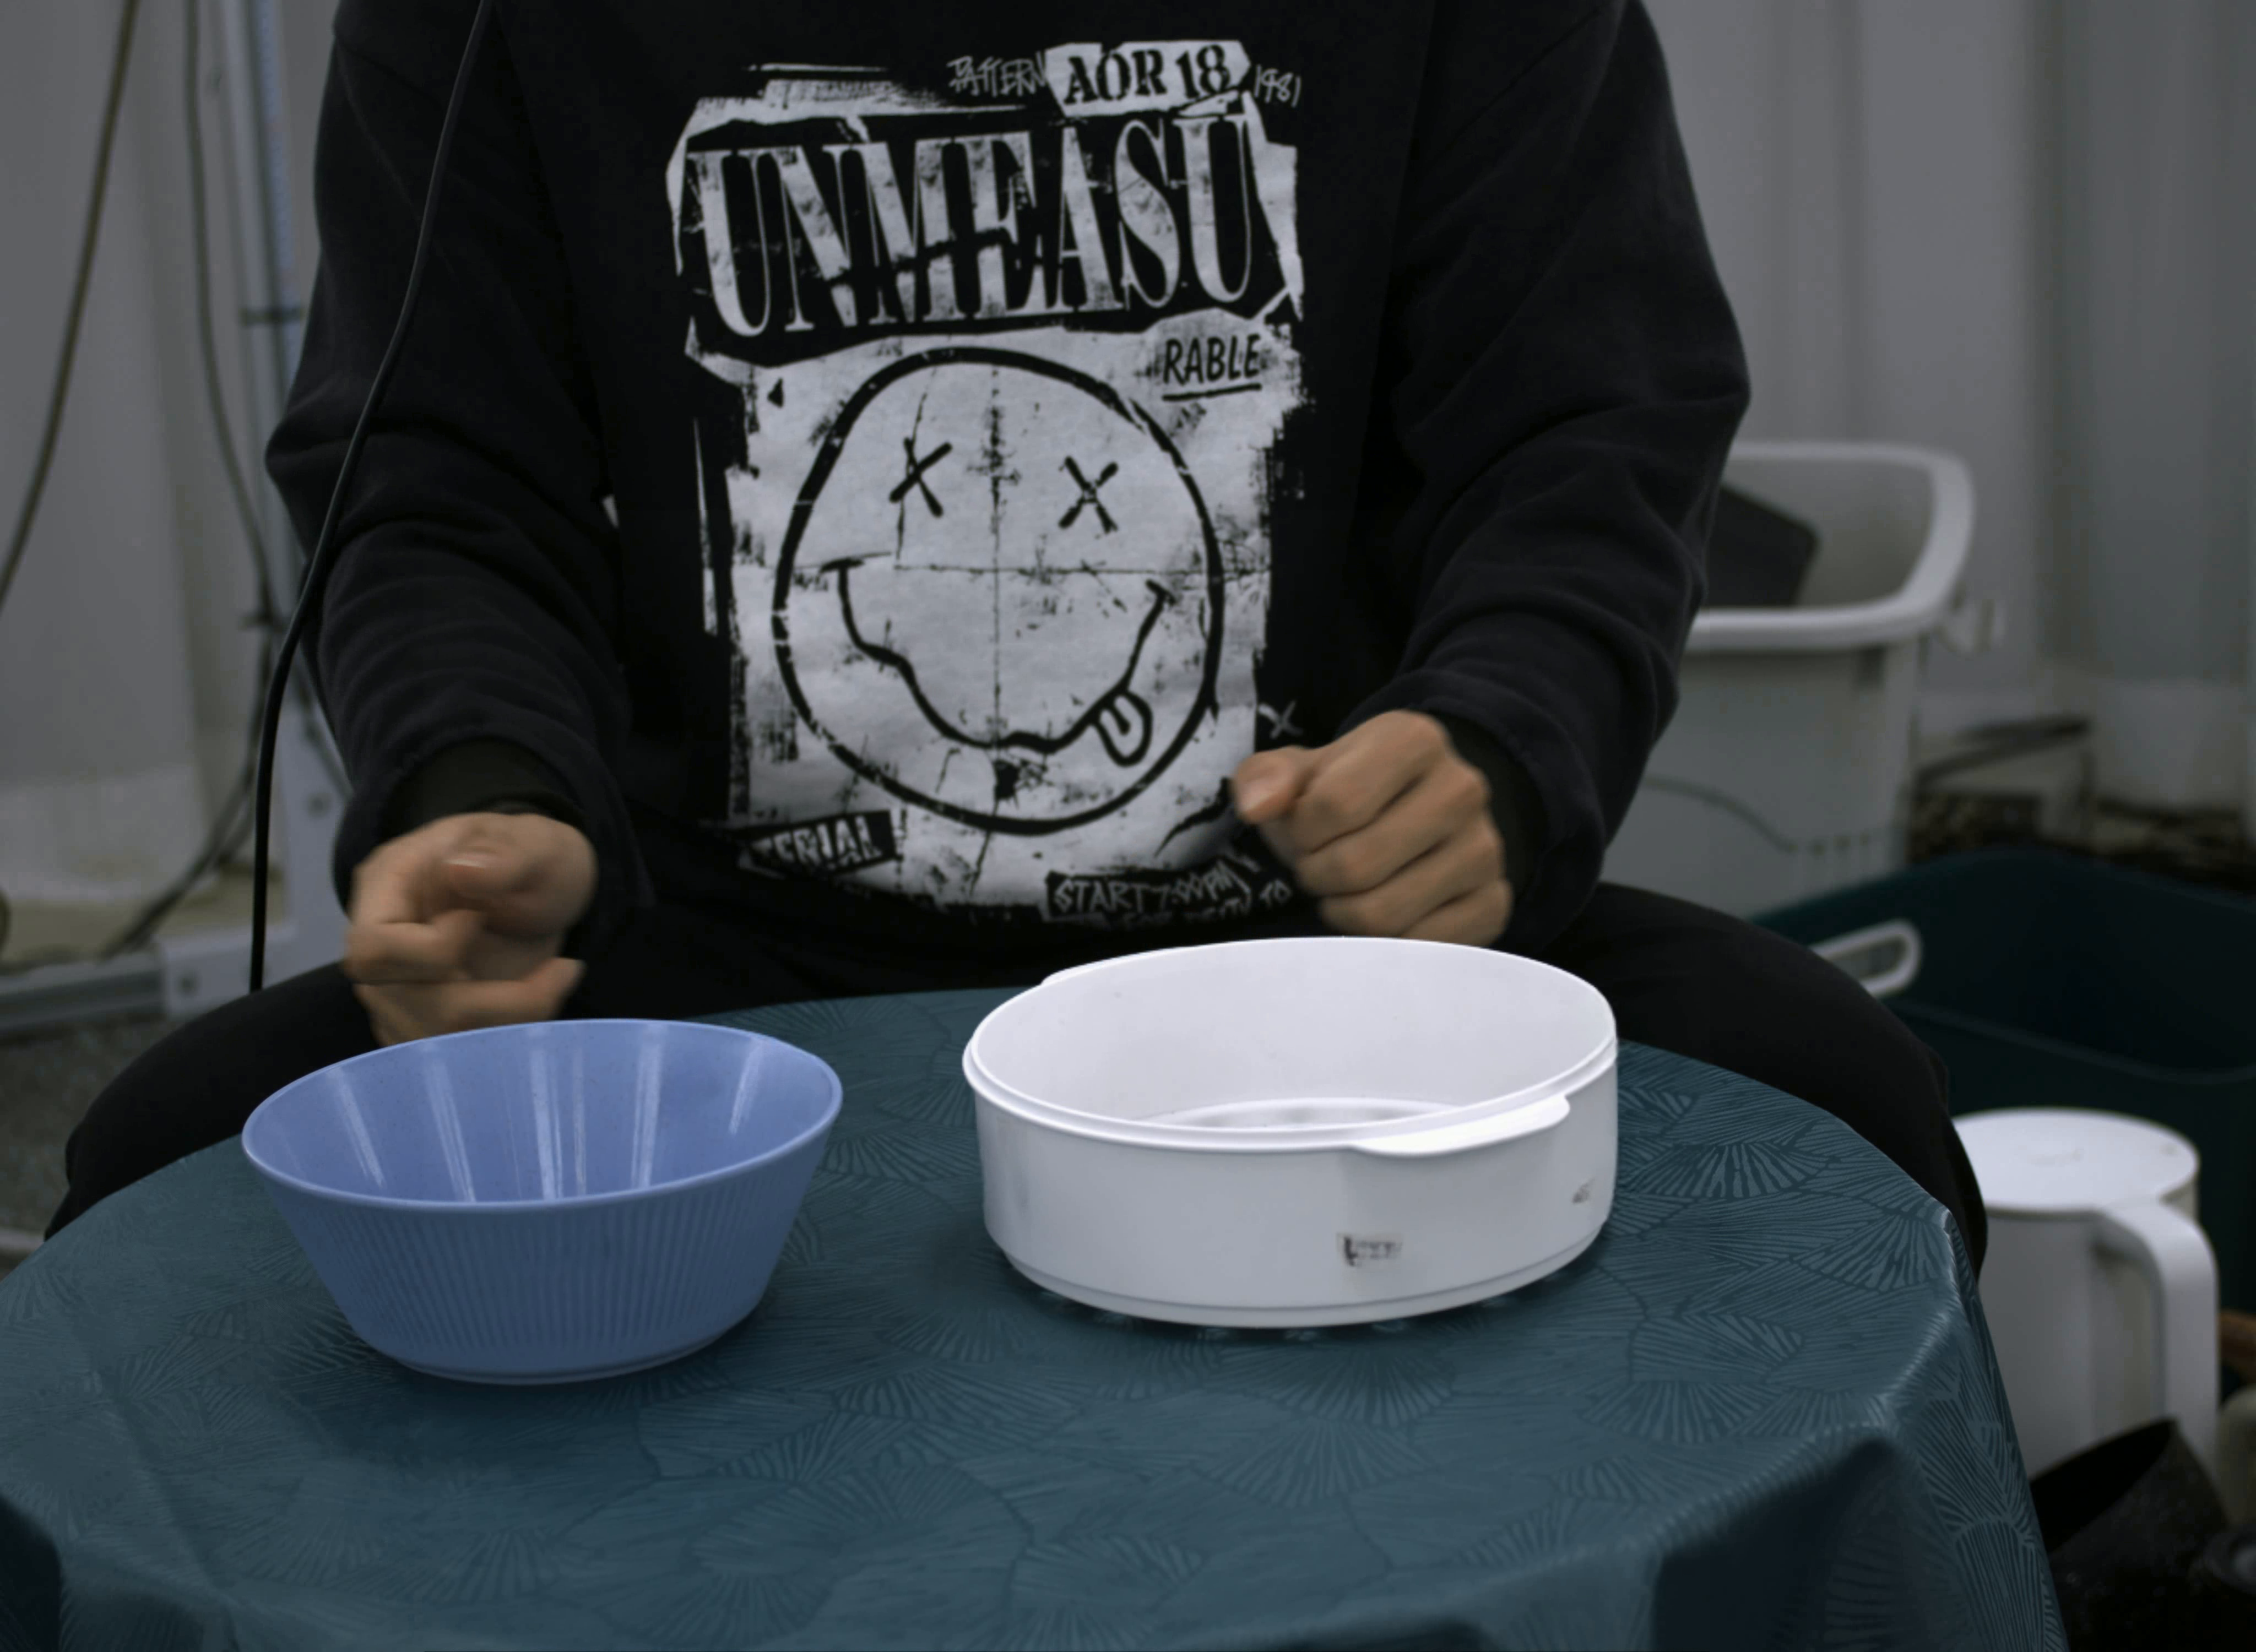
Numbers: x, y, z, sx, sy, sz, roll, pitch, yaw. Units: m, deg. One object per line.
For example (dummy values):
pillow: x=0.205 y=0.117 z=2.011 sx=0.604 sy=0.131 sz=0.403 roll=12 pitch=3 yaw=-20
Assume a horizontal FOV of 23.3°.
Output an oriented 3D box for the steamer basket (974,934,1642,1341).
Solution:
steamer basket: x=0.055 y=0.094 z=1.652 sx=0.201 sy=0.069 sz=0.232 roll=-11 pitch=19 yaw=-27

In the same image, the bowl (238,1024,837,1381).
bowl: x=-0.172 y=0.114 z=1.615 sx=0.175 sy=0.070 sz=0.177 roll=-2 pitch=14 yaw=0
